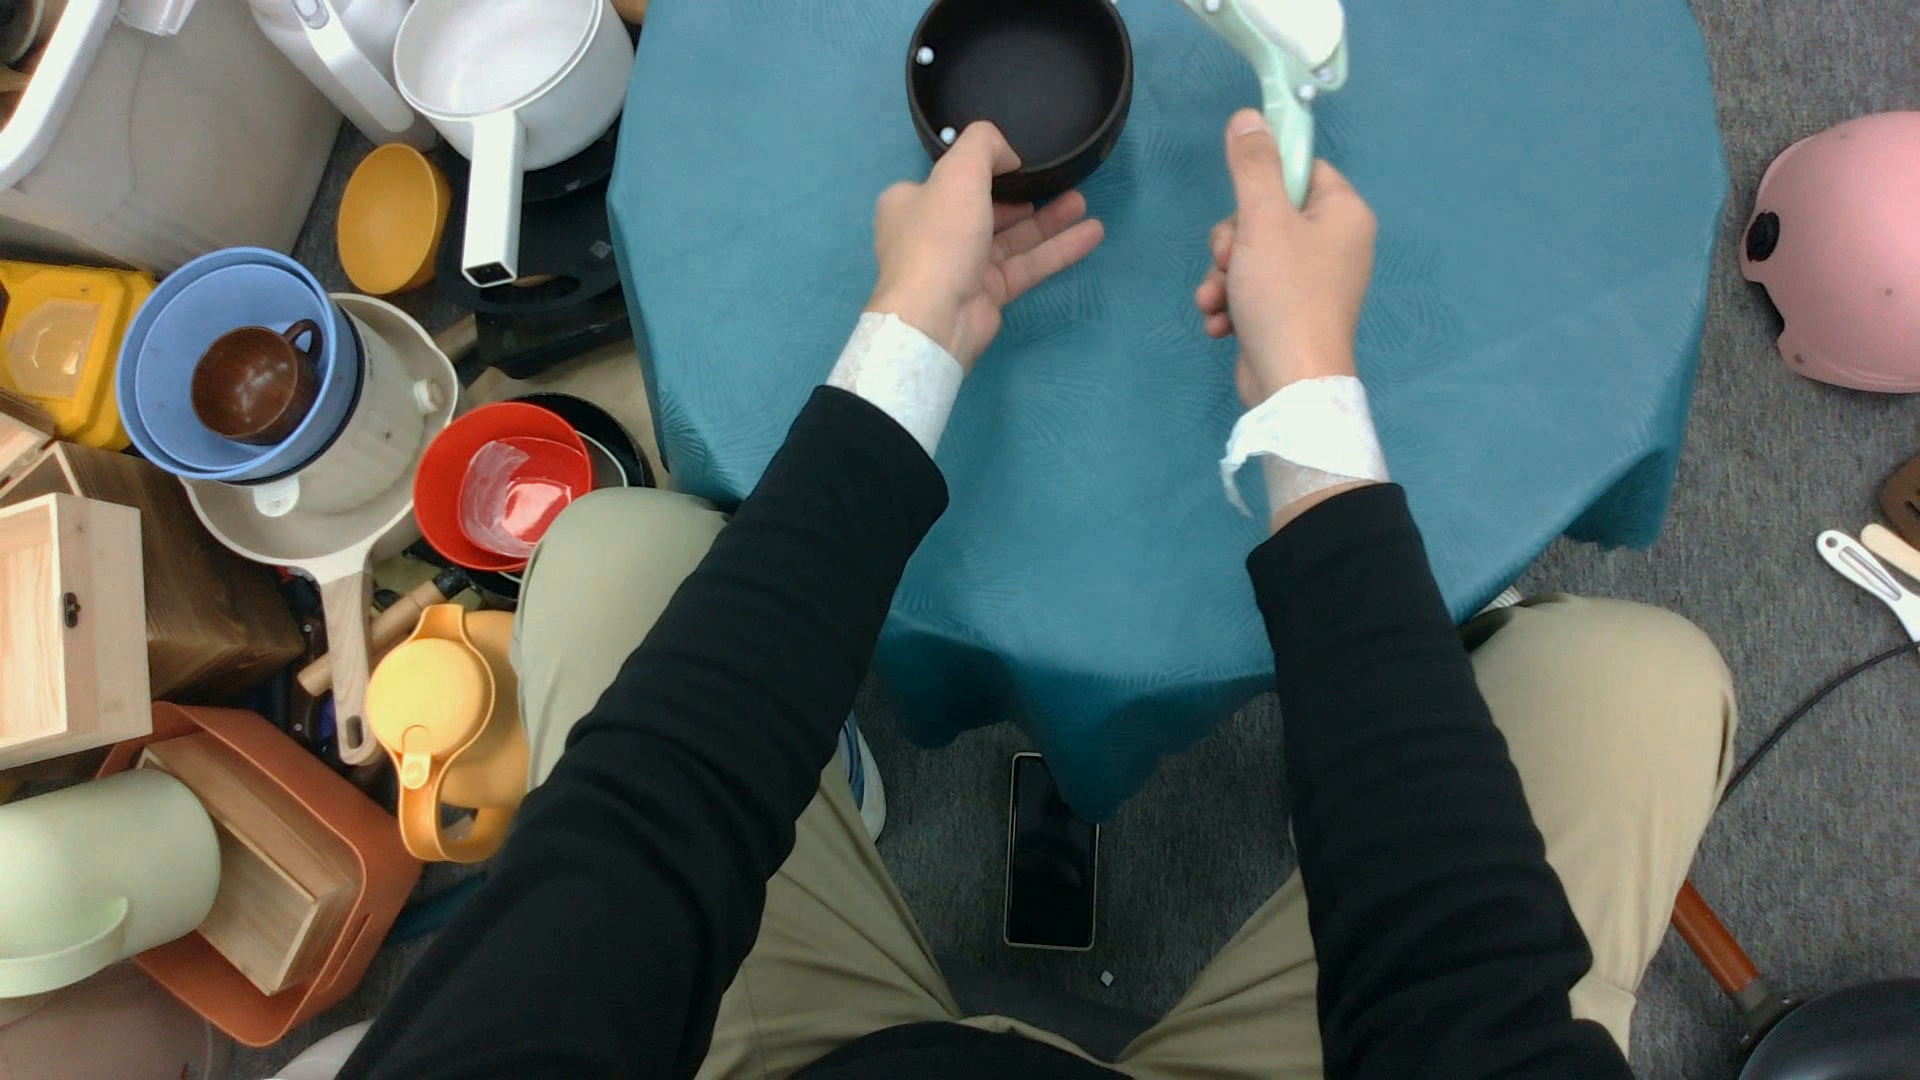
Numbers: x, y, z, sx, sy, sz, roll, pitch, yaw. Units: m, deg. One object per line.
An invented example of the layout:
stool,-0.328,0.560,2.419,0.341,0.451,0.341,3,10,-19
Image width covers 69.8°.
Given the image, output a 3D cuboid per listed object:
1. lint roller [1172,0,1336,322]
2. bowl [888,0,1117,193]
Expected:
lint roller,0.137,-0.203,0.660,0.048,0.117,0.198,-13,72,44
bowl,0.023,-0.238,0.728,0.118,0.070,0.118,0,81,3
